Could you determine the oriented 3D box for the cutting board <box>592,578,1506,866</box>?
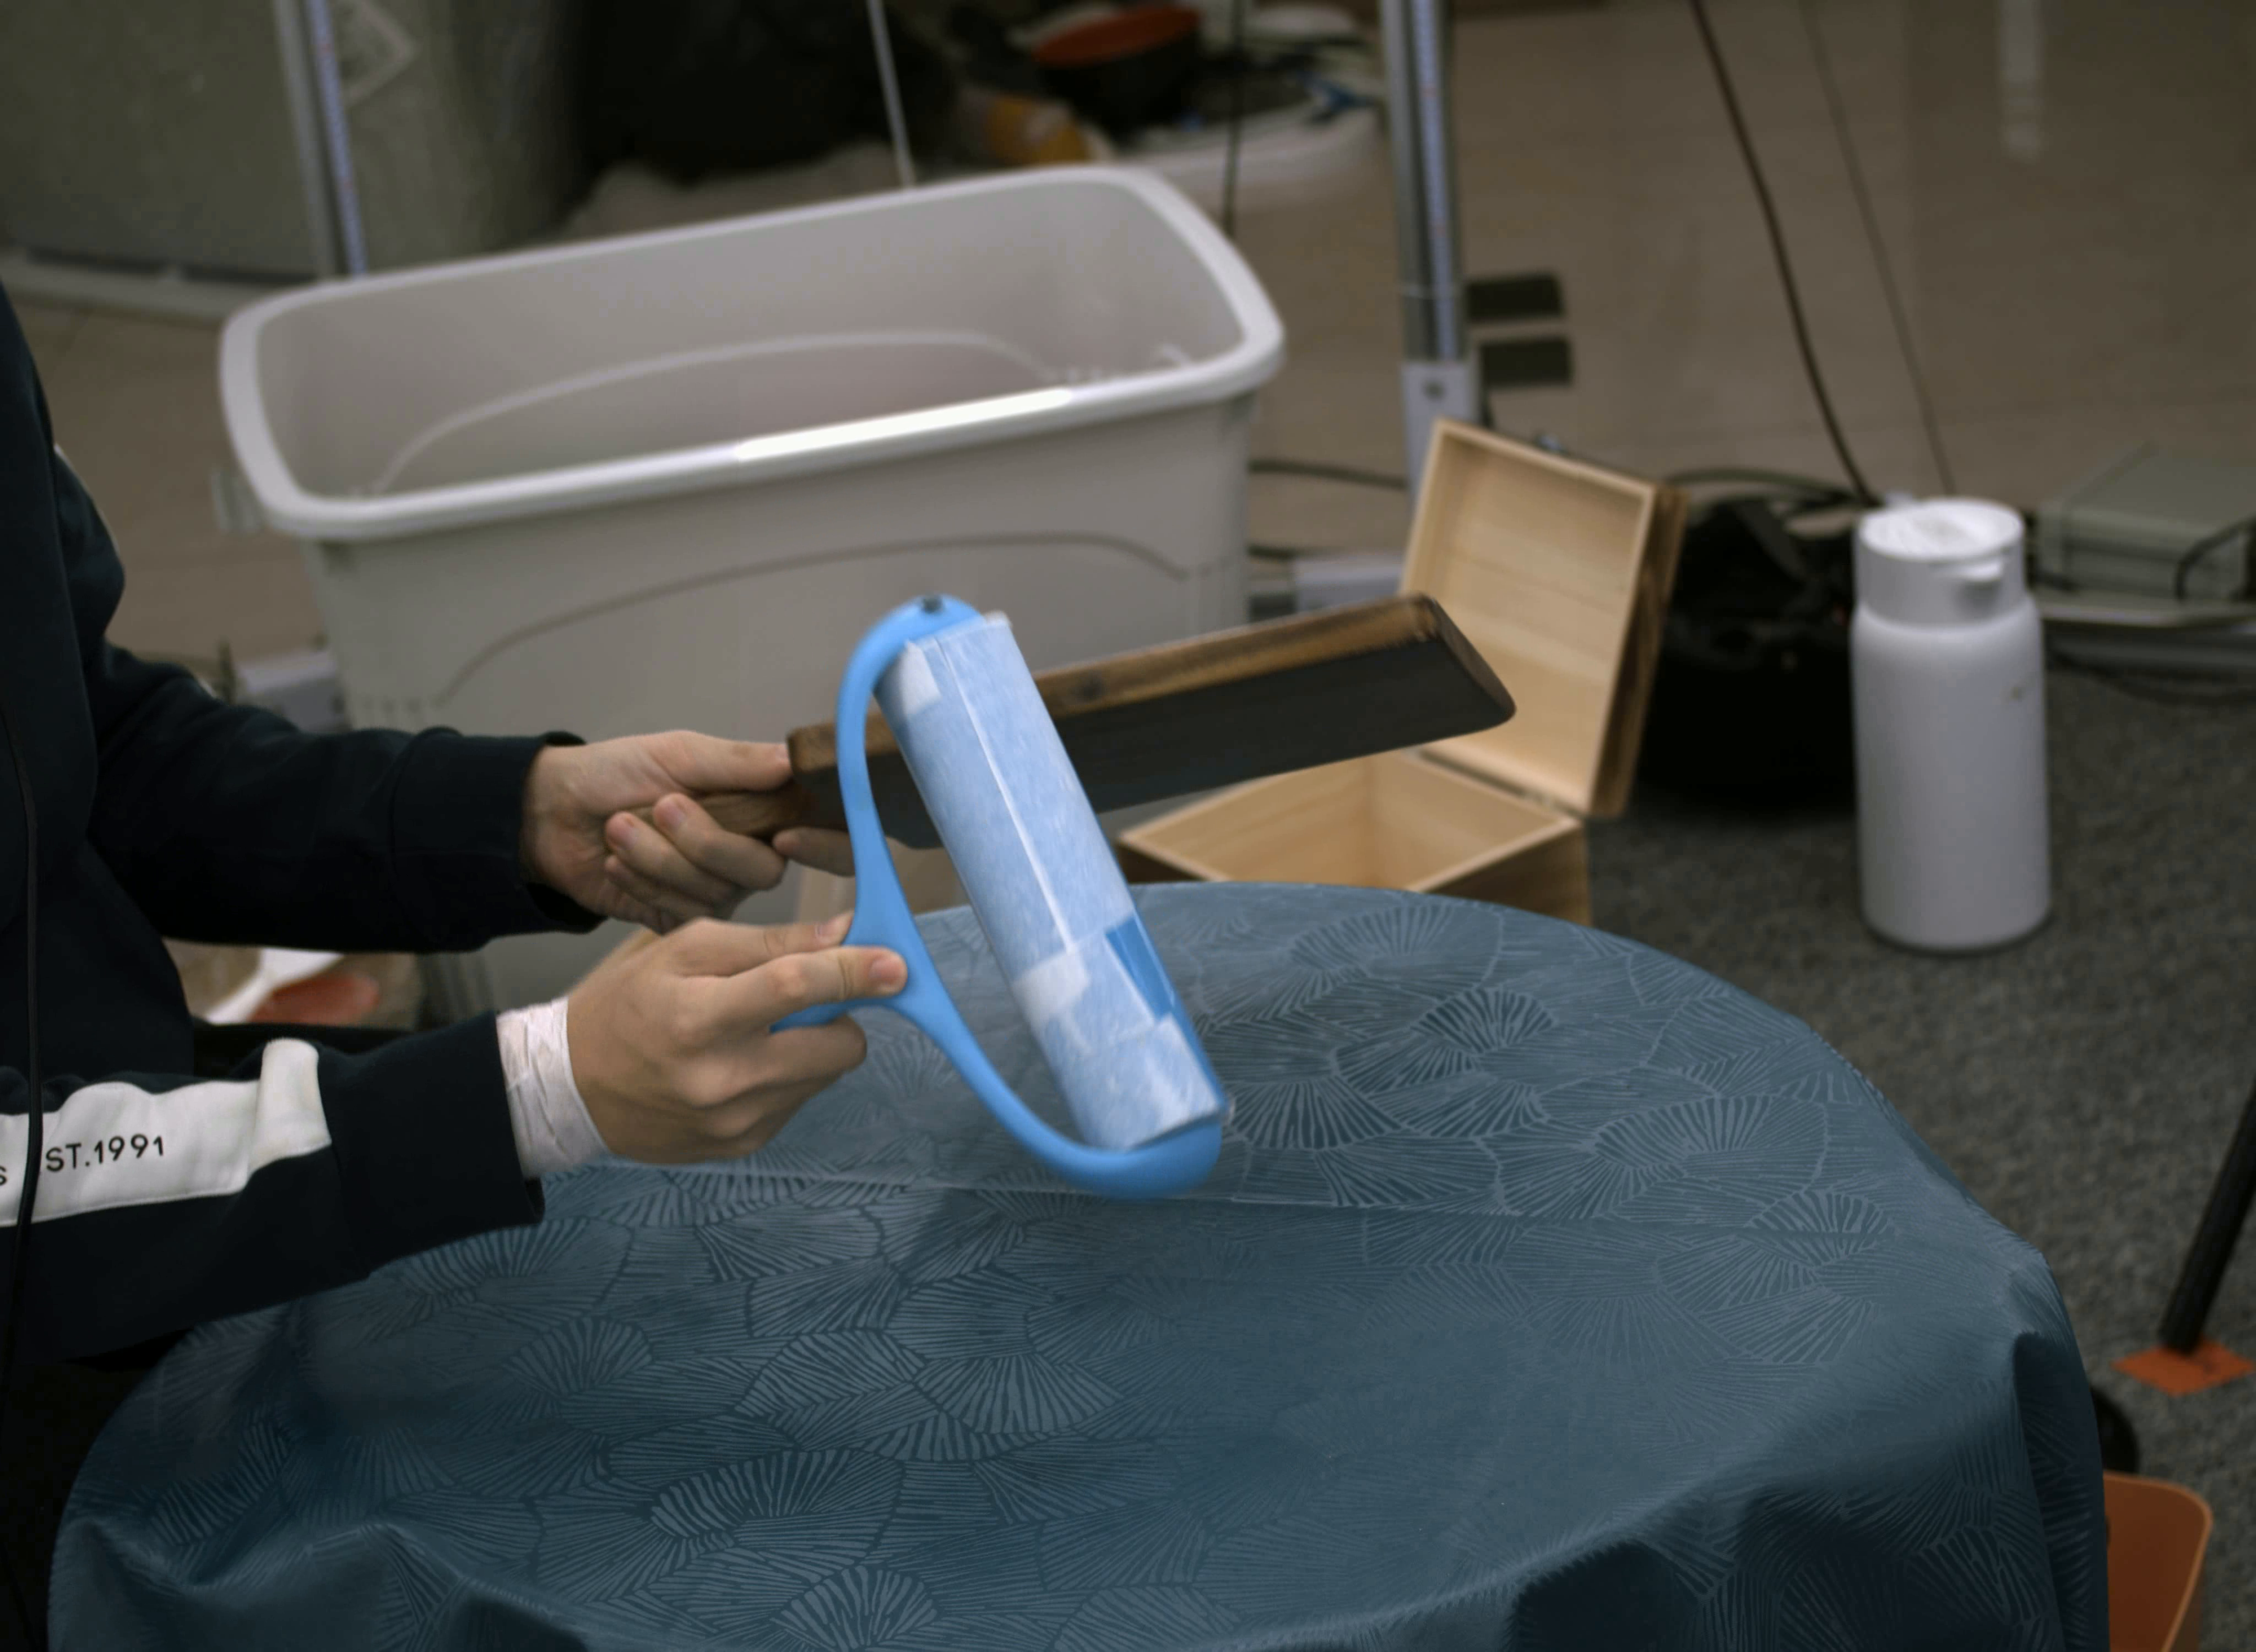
[{"bbox_3d":[-0.038,-0.030,2.180,0.352,0.023,0.202,-12,-13,10],"label":"cutting board"}]

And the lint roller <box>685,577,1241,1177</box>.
[{"bbox_3d":[-0.079,0.046,1.989,0.180,0.229,0.068,-30,-3,6],"label":"lint roller"}]
